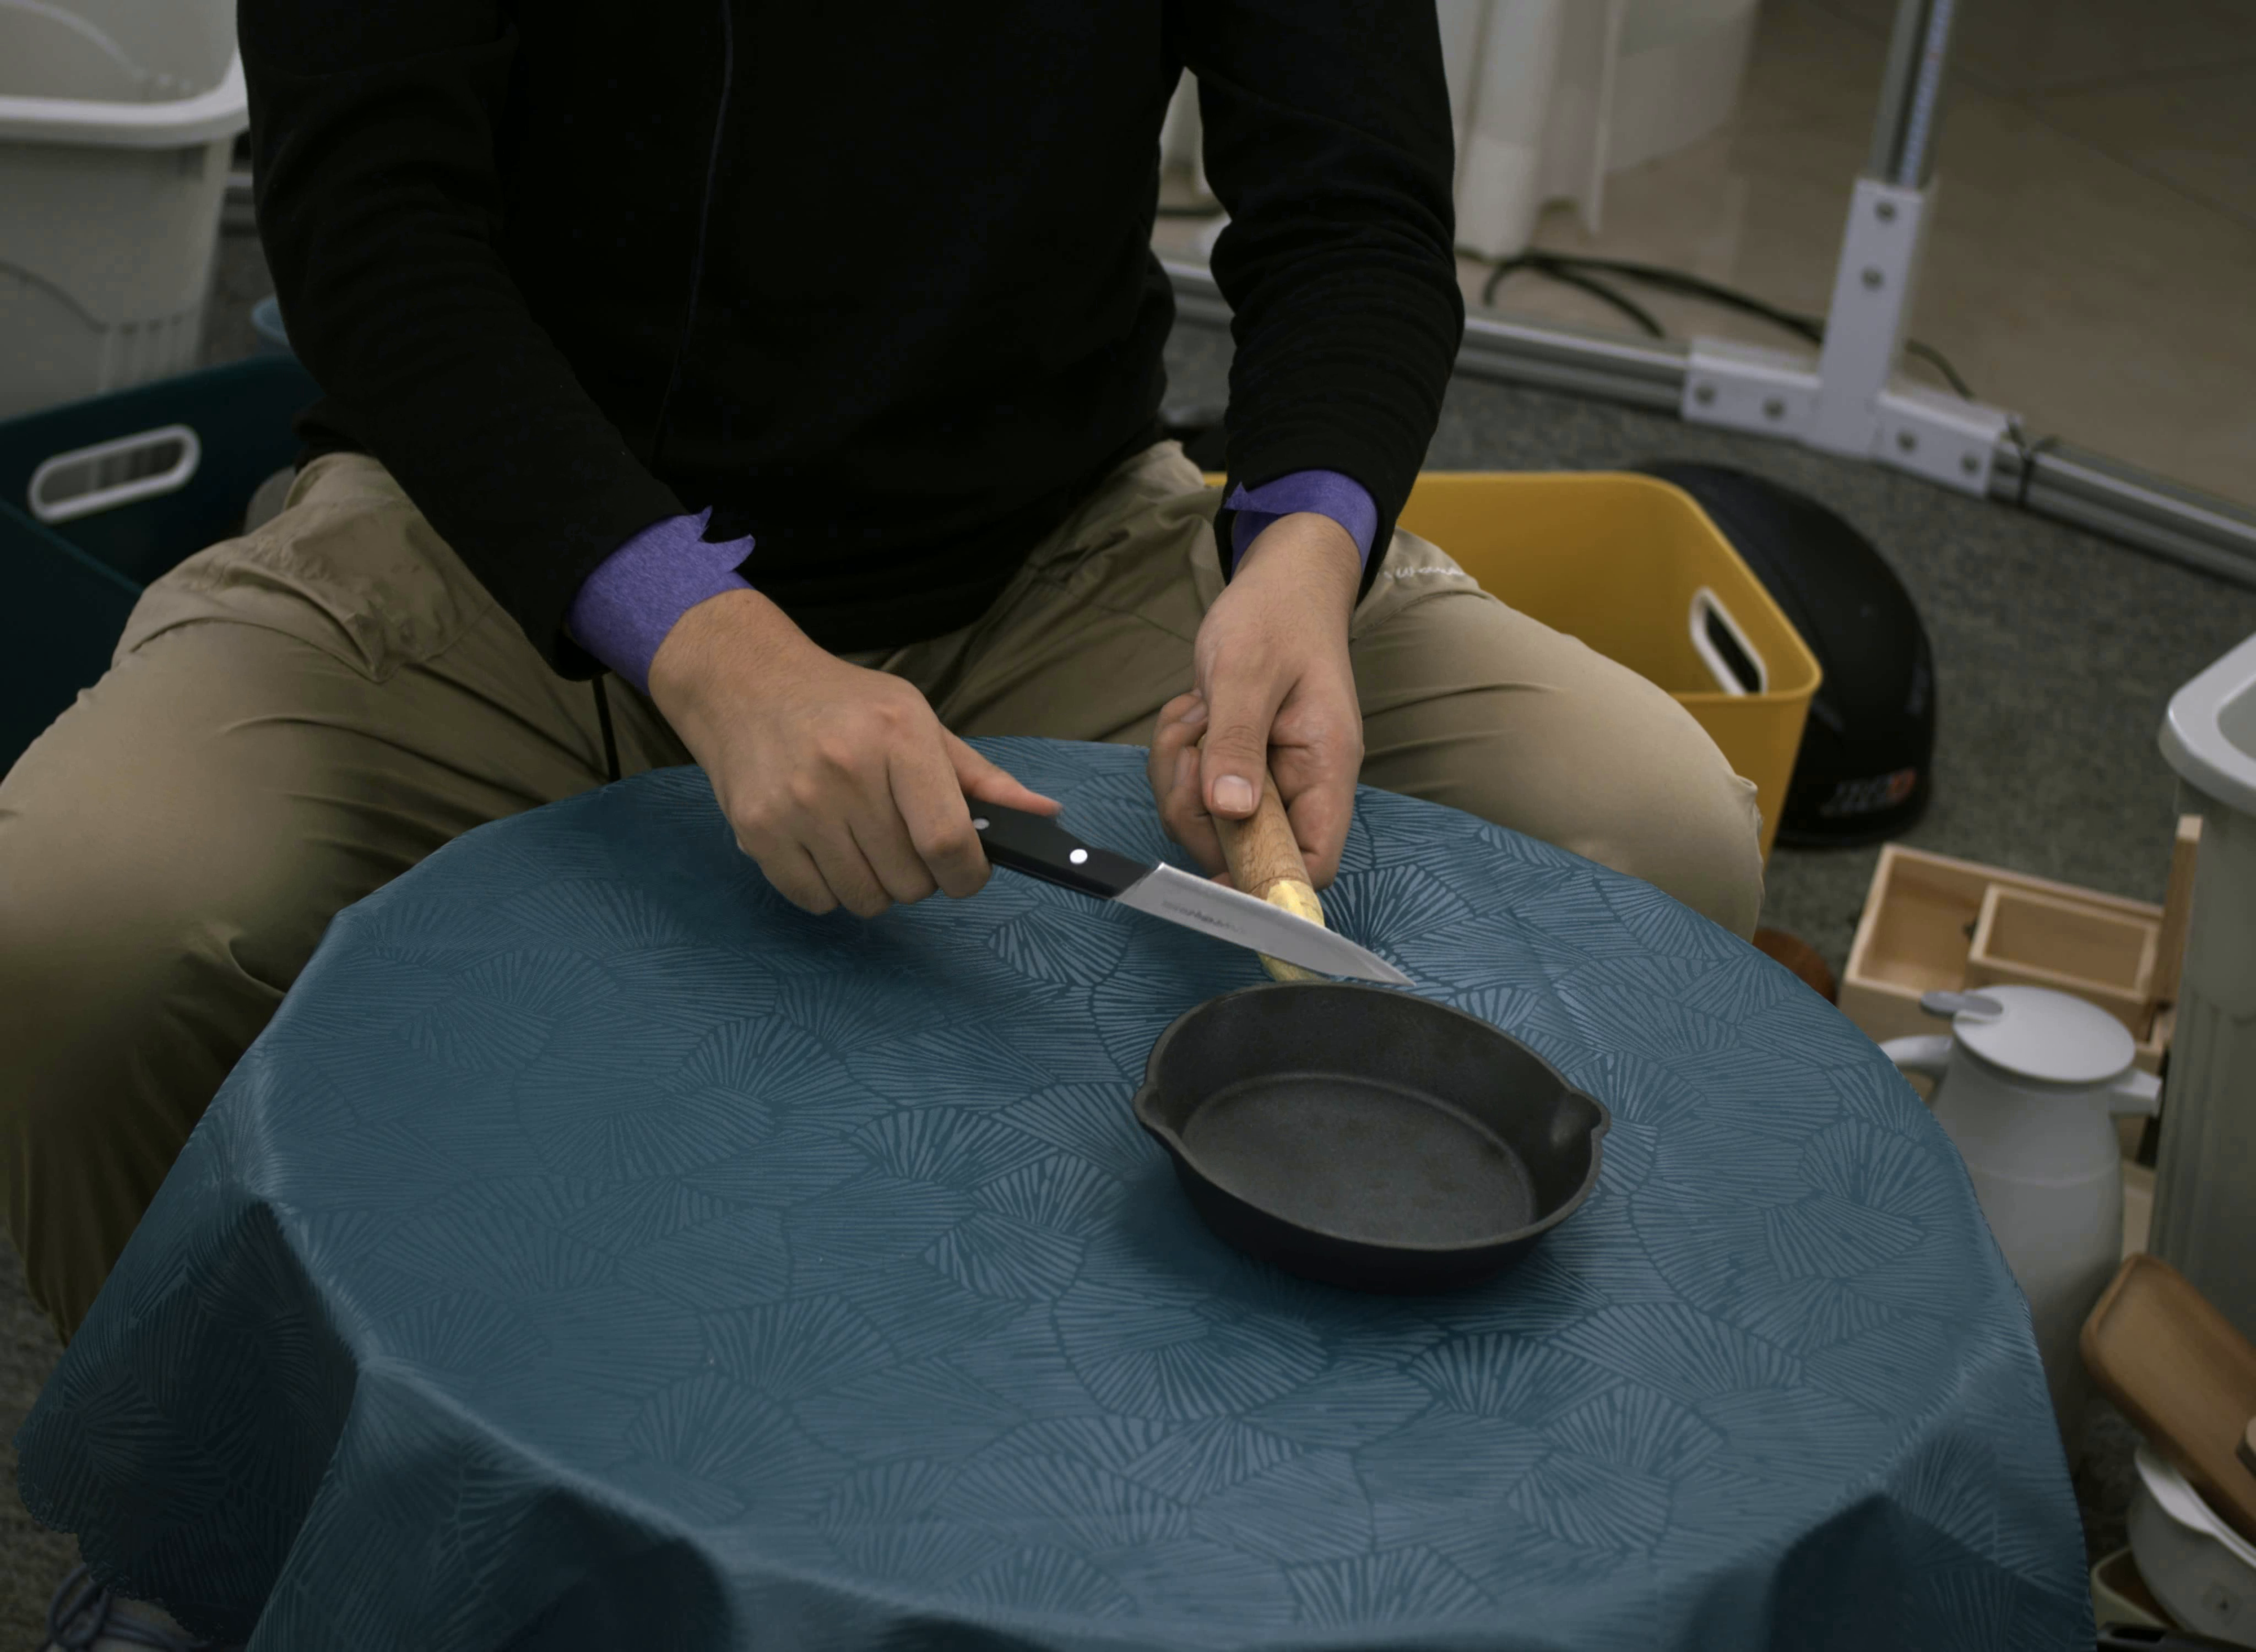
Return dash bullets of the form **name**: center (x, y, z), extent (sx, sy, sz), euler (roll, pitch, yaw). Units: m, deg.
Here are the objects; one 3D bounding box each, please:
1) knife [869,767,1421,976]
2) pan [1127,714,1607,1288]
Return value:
- **knife**: center (0.002, 0.019, 1.872), extent (0.239, 0.016, 0.024), euler (19, 53, 32)
- **pan**: center (0.064, 0.059, 1.872), extent (0.168, 0.049, 0.327), euler (2, 30, -14)
